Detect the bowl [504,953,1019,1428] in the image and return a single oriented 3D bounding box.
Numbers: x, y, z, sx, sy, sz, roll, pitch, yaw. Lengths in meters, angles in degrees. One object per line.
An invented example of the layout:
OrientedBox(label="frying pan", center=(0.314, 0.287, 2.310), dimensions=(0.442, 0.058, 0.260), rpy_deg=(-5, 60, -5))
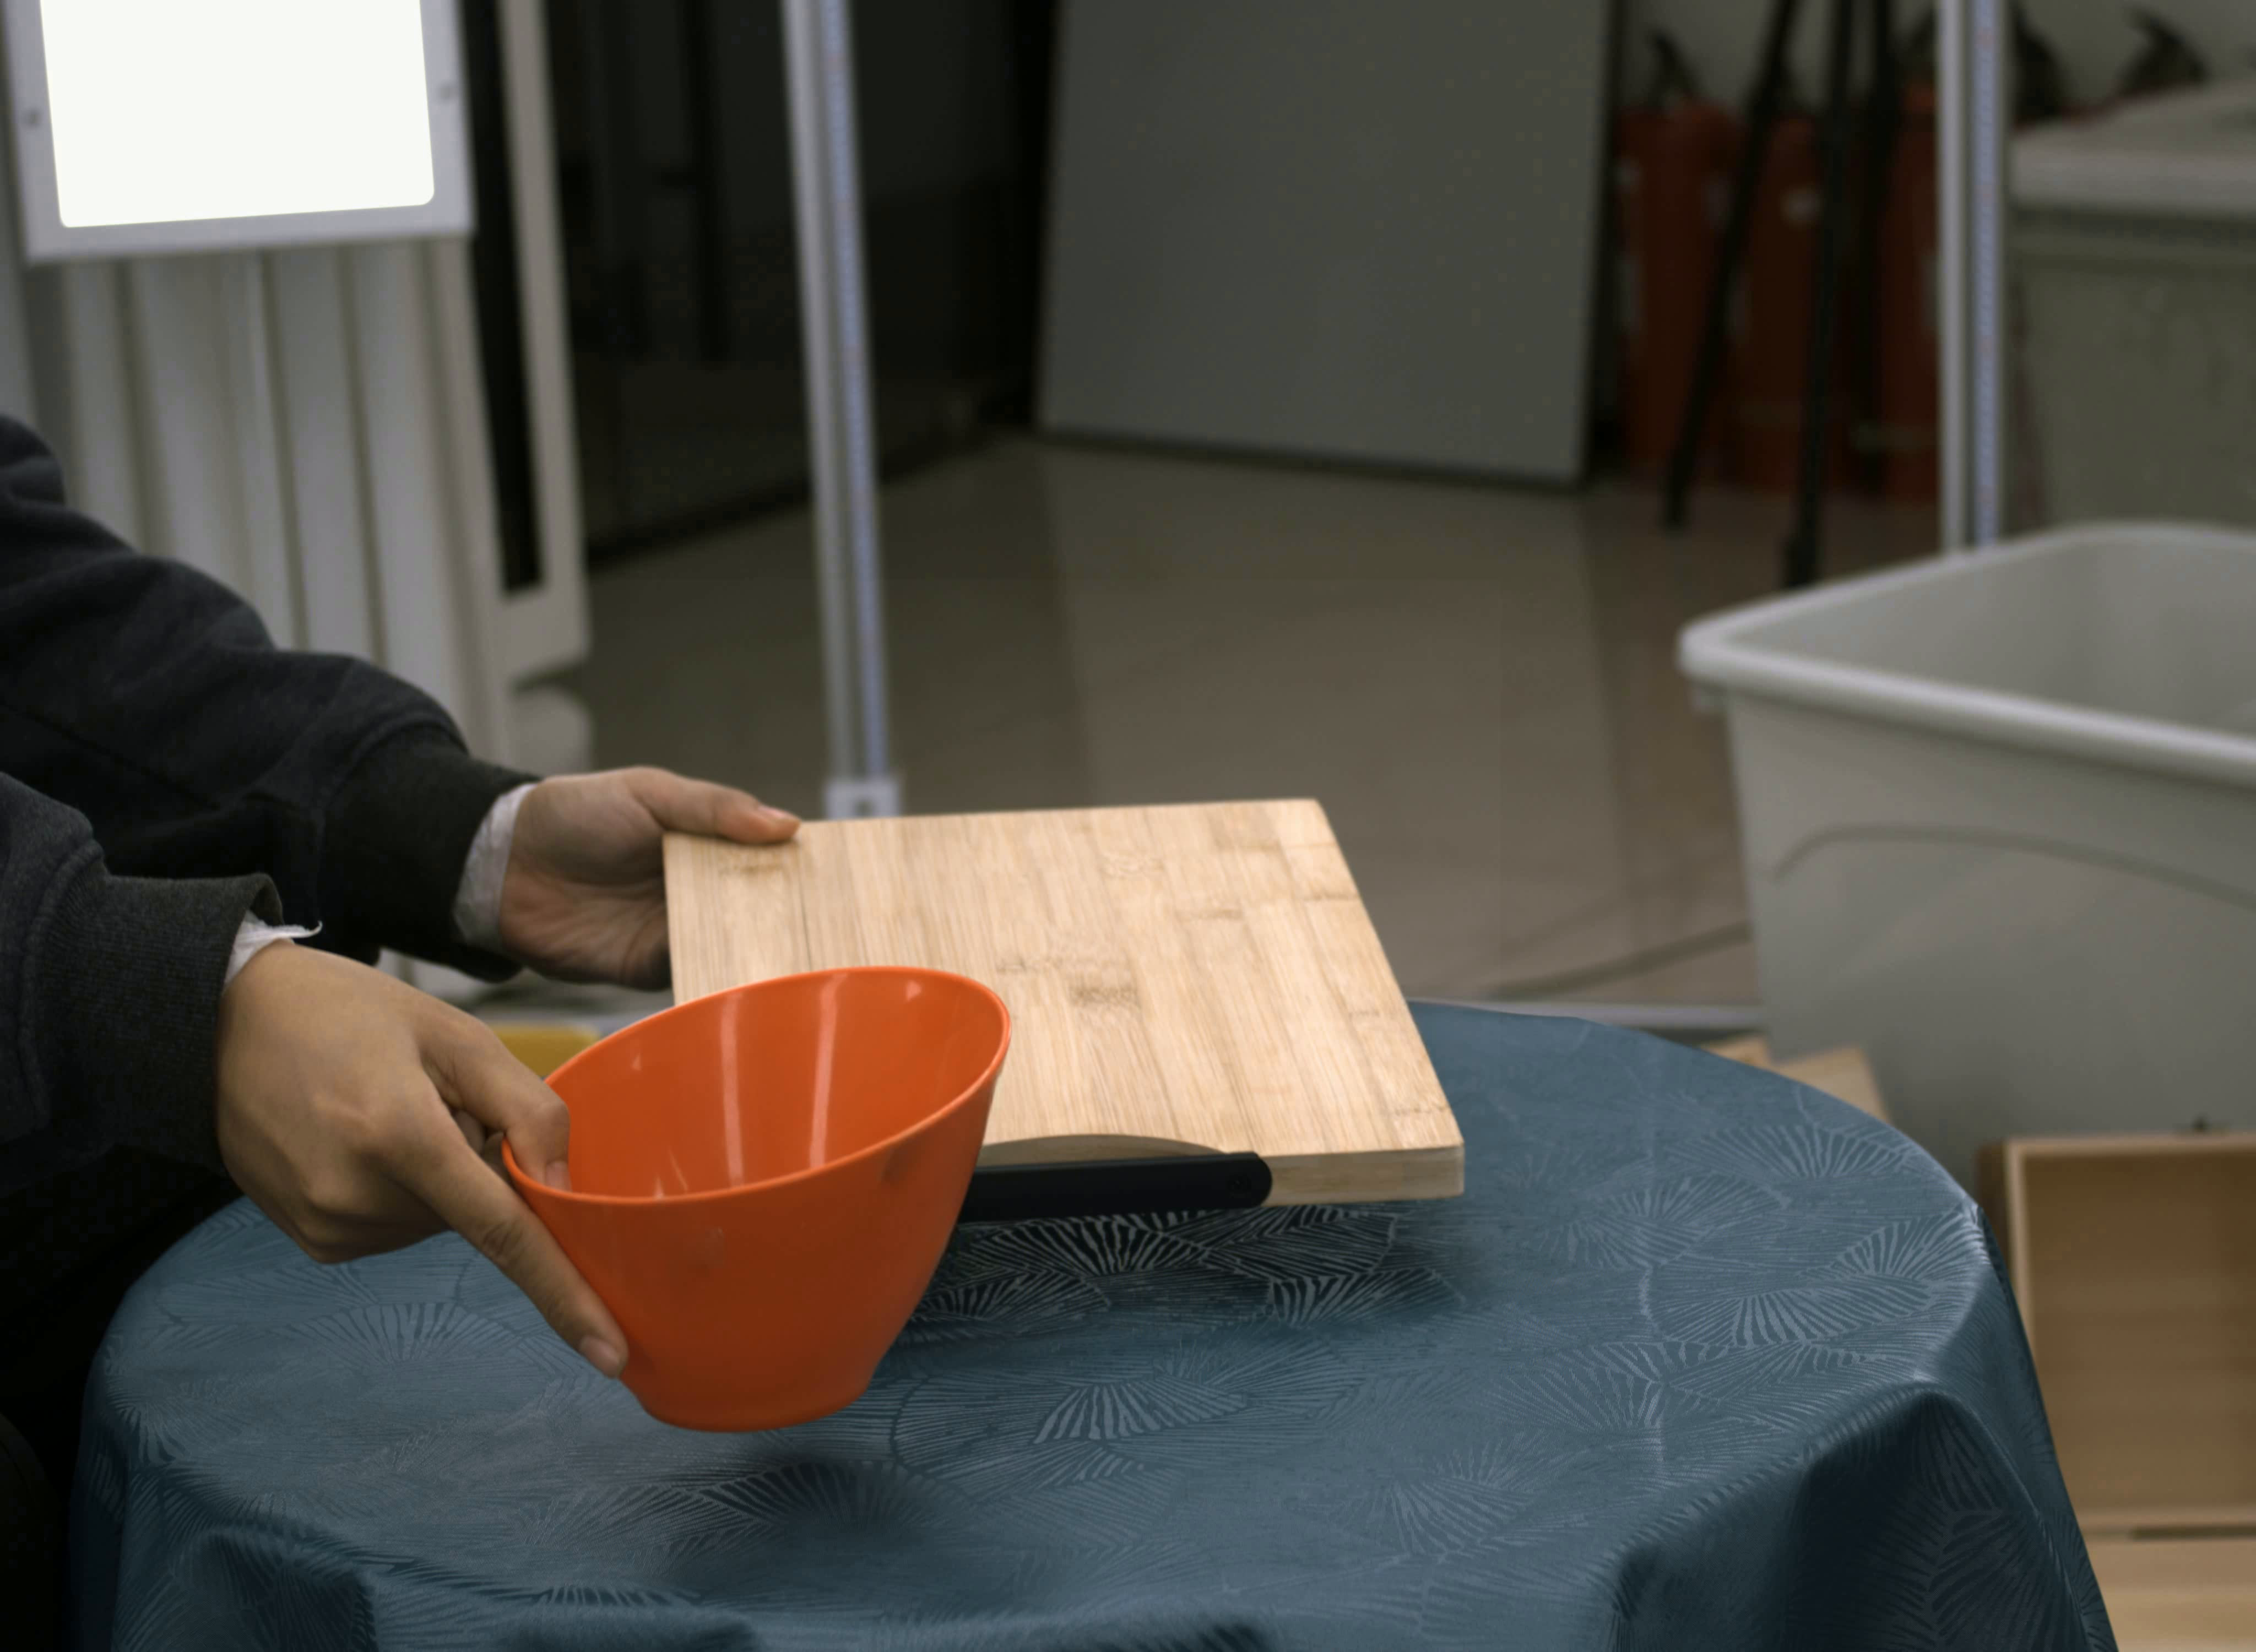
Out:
OrientedBox(label="bowl", center=(-0.100, 0.106, 1.525), dimensions=(0.146, 0.106, 0.148), rpy_deg=(-3, 17, 0))

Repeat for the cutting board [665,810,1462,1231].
OrientedBox(label="cutting board", center=(-0.032, 0.060, 1.784), dimensions=(0.247, 0.024, 0.350), rpy_deg=(-4, 18, -5))
